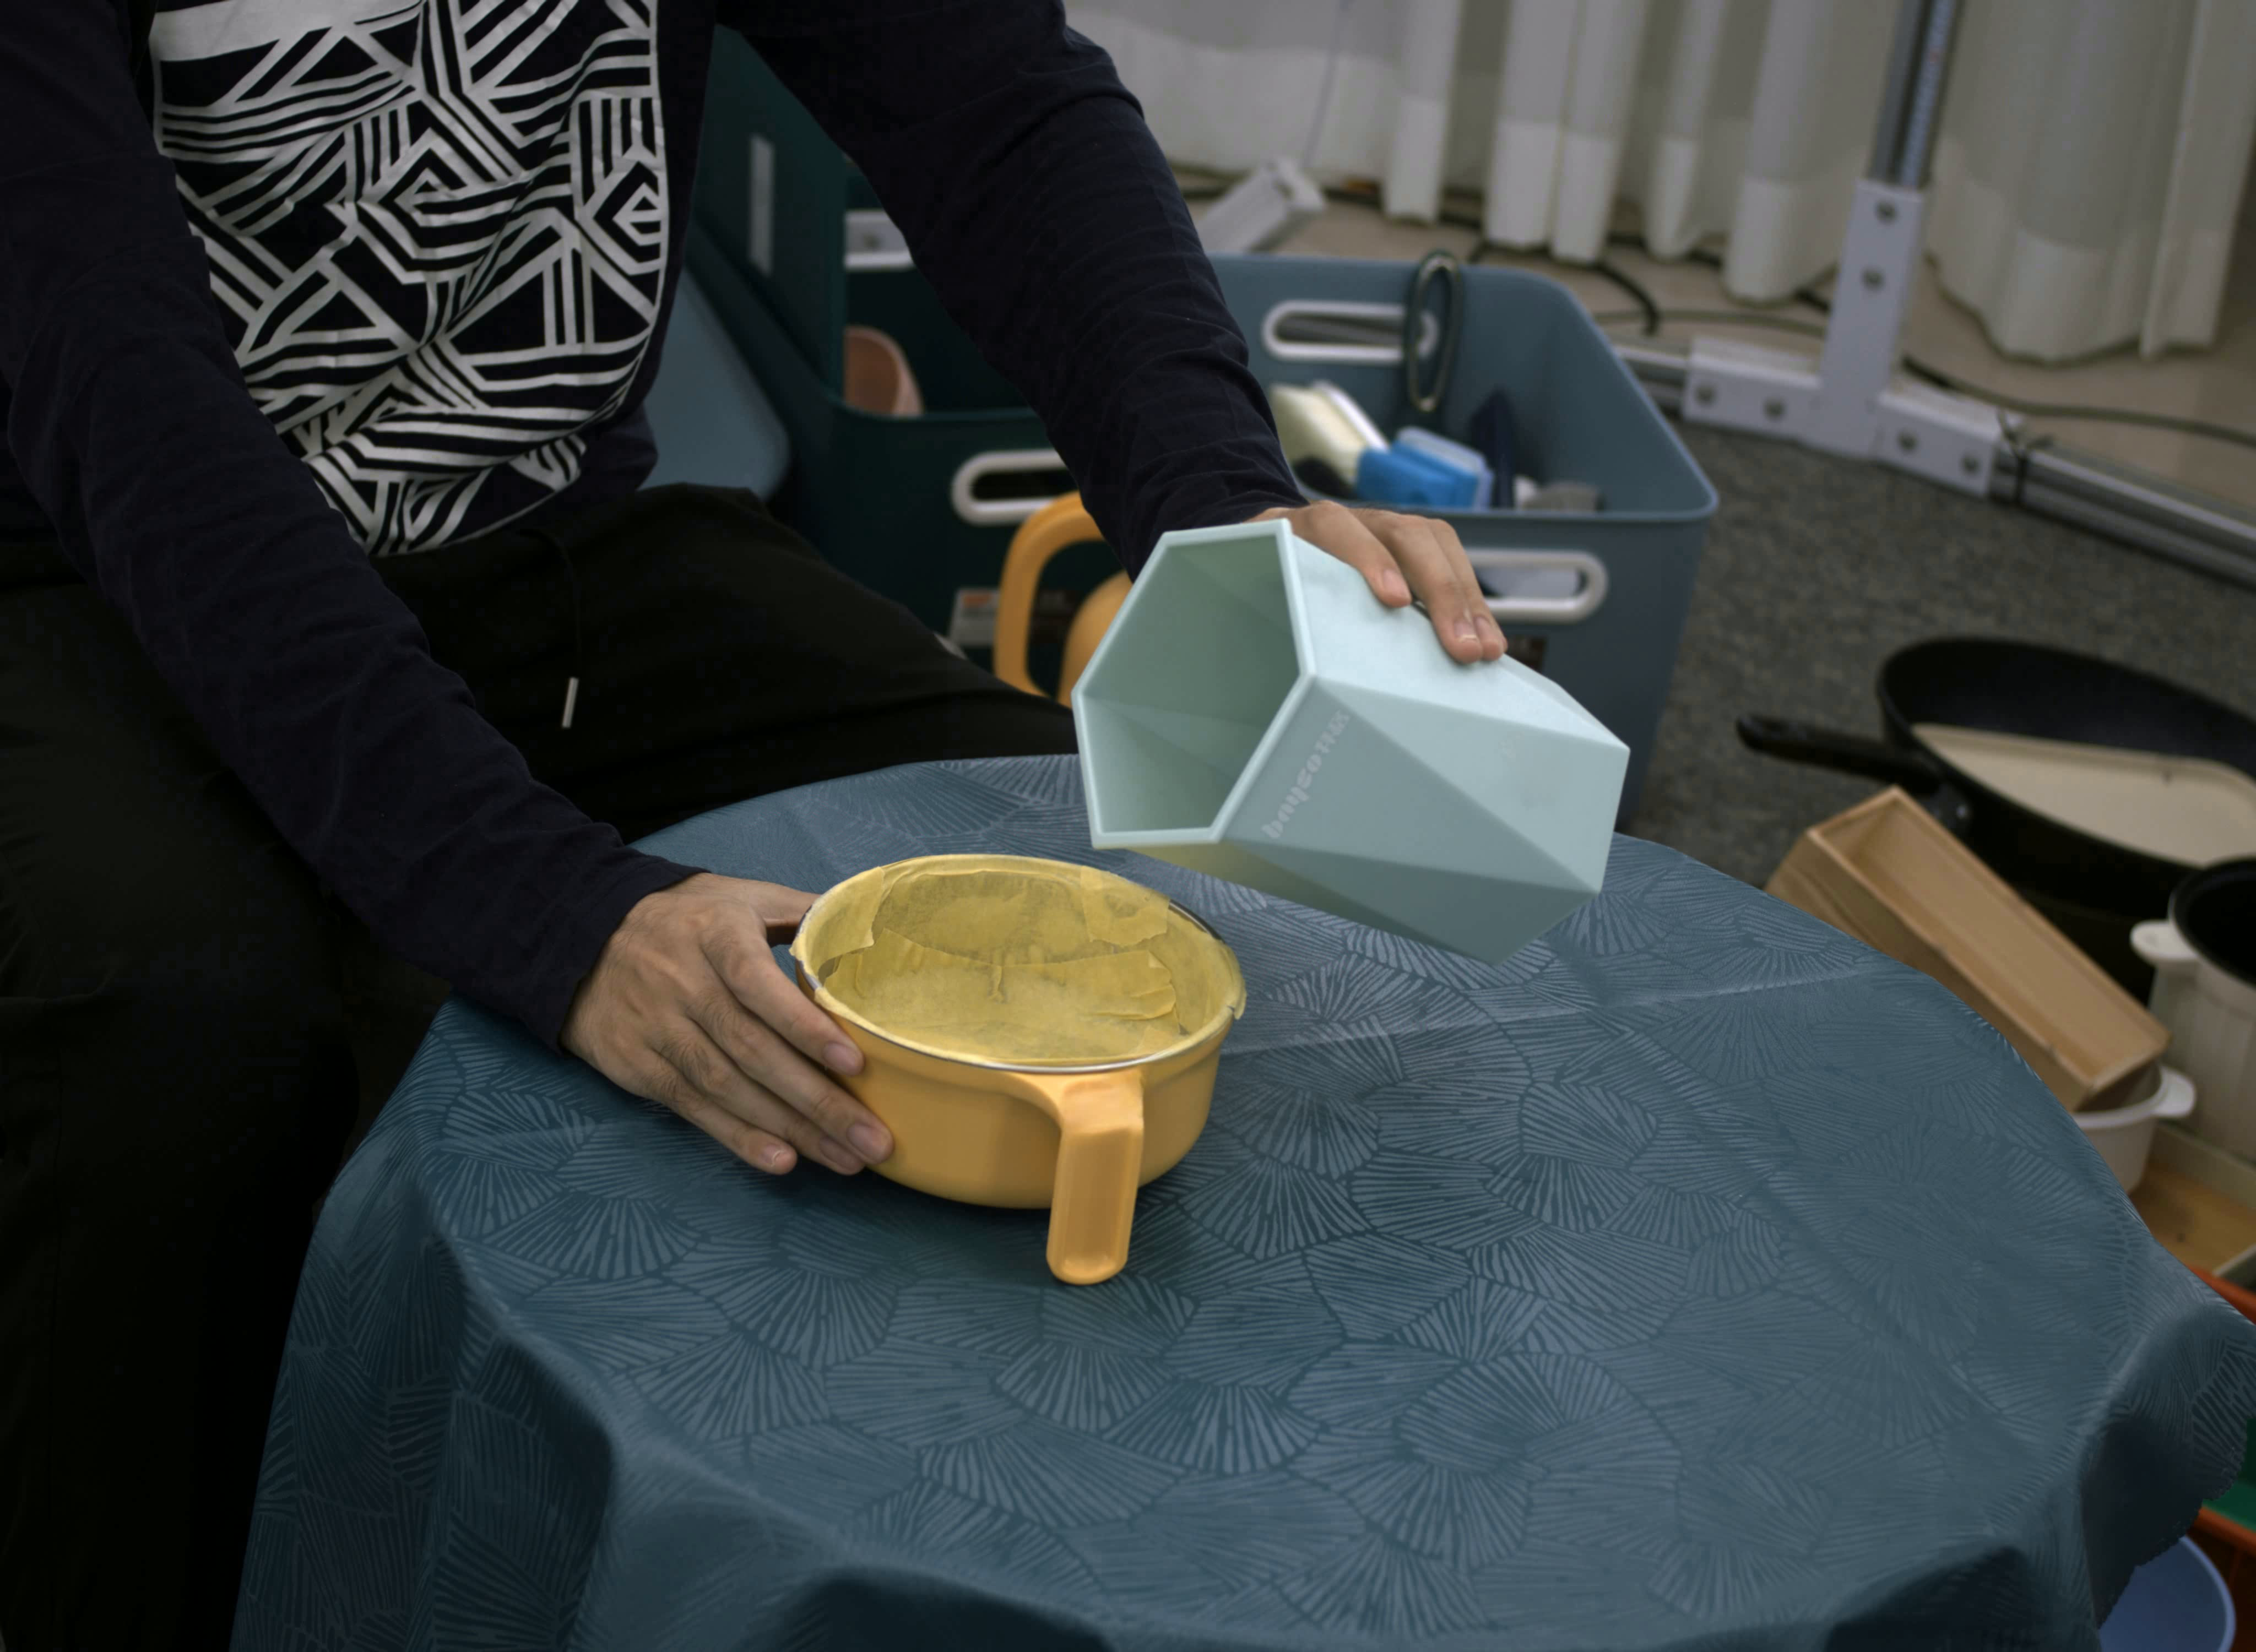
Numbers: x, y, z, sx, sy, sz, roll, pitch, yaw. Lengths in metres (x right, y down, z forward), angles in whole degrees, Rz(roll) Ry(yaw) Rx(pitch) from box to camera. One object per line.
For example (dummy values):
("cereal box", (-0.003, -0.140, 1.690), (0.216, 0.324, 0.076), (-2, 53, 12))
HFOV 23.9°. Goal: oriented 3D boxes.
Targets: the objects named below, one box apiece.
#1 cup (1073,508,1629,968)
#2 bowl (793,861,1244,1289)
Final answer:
("cup", (0.082, -0.025, 1.837), (0.161, 0.131, 0.116), (23, 12, -33))
("bowl", (-0.036, 0.082, 1.808), (0.152, 0.074, 0.181), (-4, 27, -21))
